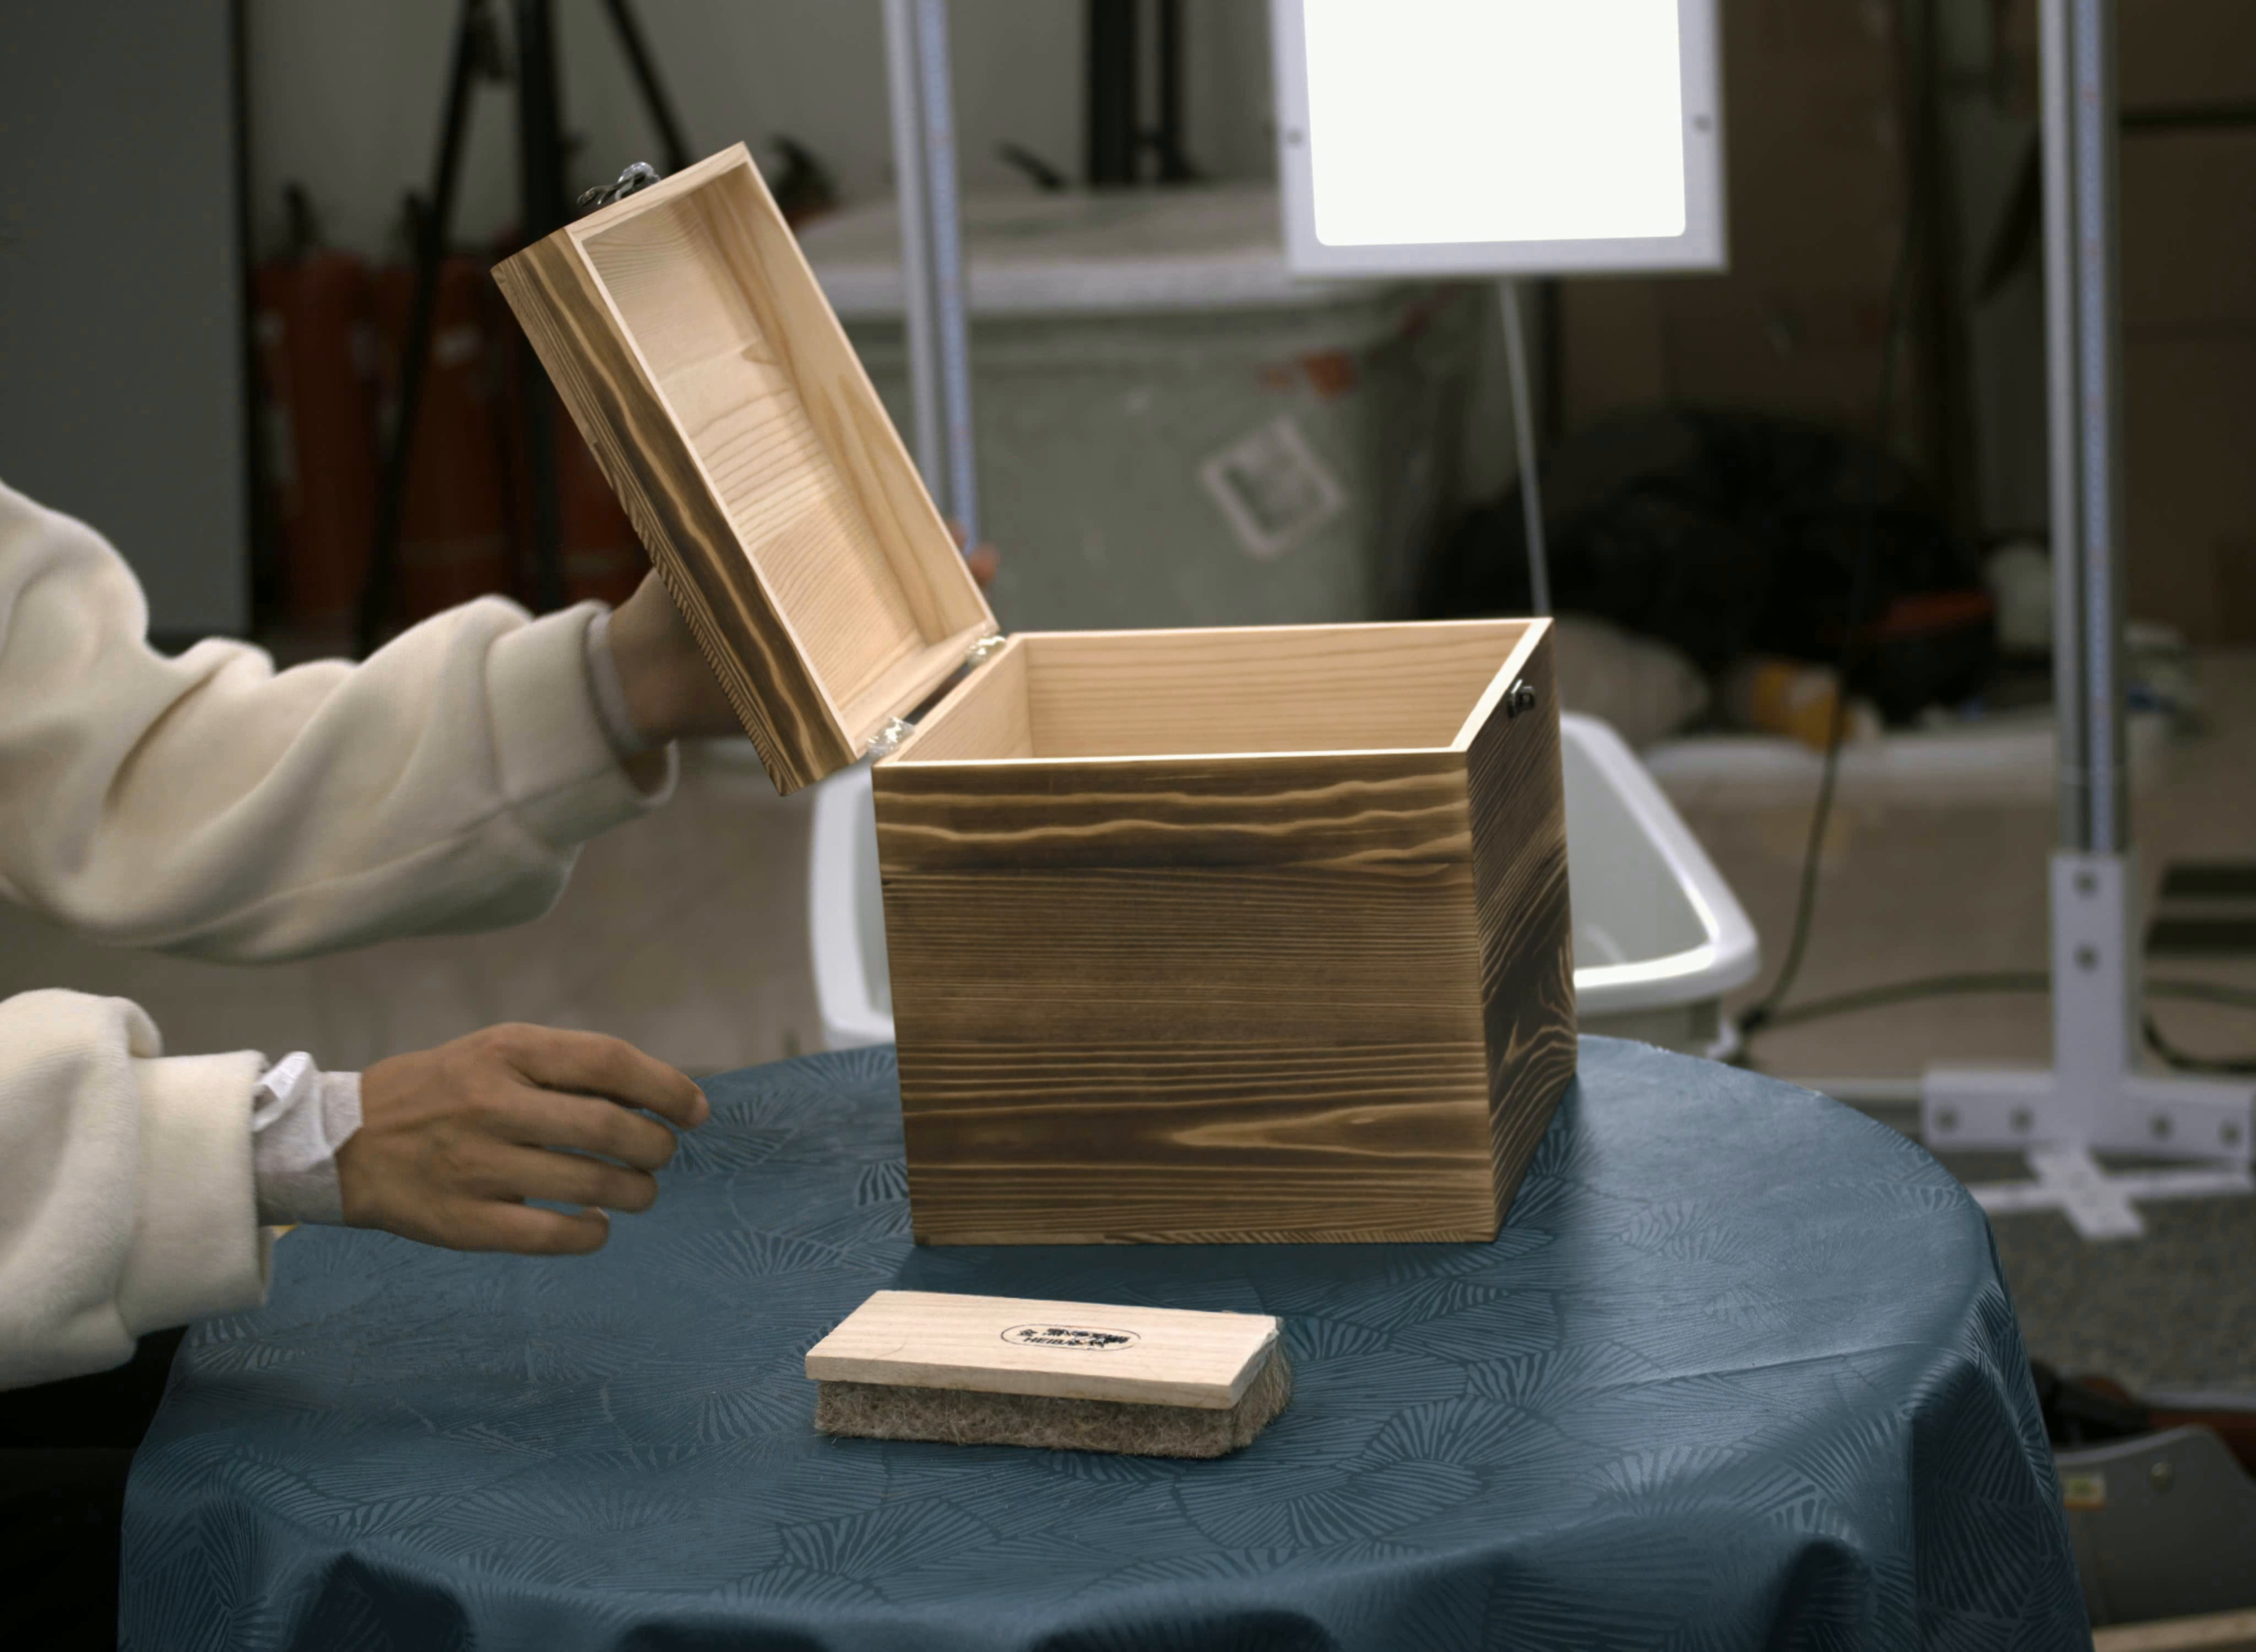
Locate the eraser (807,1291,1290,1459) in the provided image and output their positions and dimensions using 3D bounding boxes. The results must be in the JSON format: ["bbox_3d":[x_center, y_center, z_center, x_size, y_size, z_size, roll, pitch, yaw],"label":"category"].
[{"bbox_3d":[-0.023,0.168,1.679,0.141,0.029,0.056,1,18,26],"label":"eraser"}]

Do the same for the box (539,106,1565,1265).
[{"bbox_3d":[-0.018,-0.059,1.895,0.325,0.377,0.206,-1,15,14],"label":"box"}]
